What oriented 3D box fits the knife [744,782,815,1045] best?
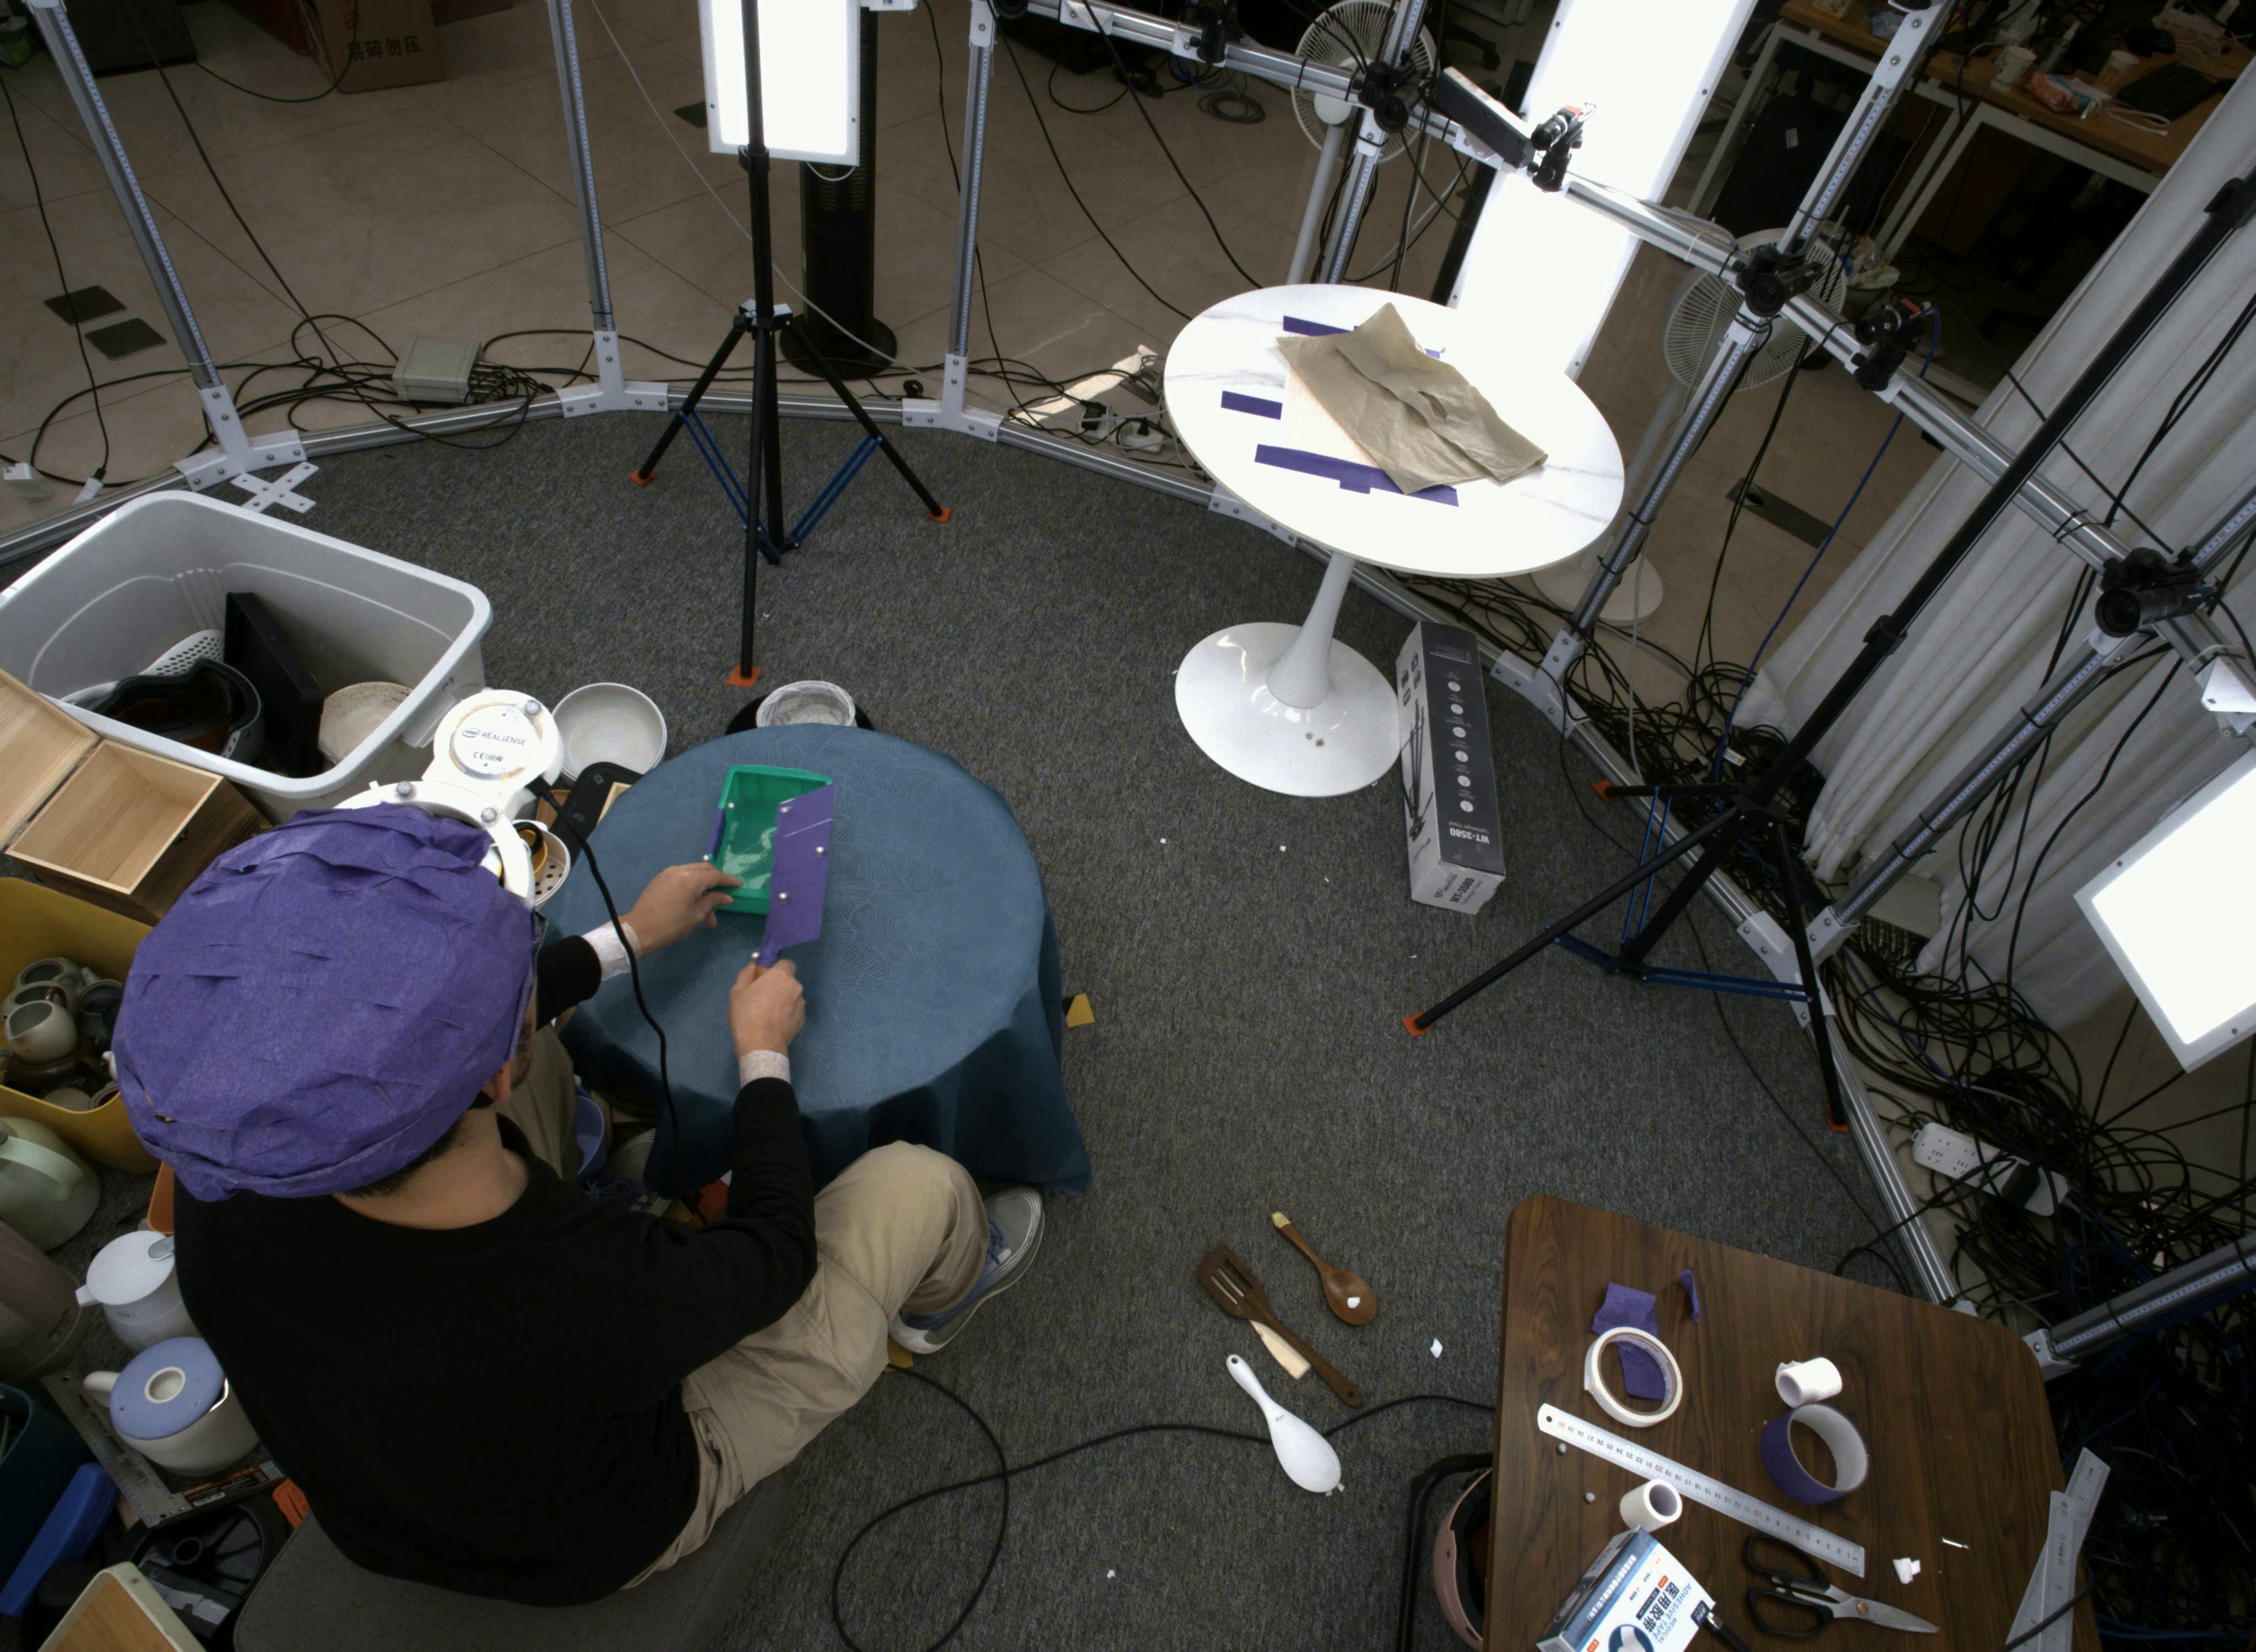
[{"bbox_3d":[-0.408,0.092,1.518,0.102,0.033,0.311,-18,62,25],"label":"knife"}]

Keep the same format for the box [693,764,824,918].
[{"bbox_3d":[-0.466,0.023,1.650,0.138,0.066,0.207,5,55,-9],"label":"box"}]
